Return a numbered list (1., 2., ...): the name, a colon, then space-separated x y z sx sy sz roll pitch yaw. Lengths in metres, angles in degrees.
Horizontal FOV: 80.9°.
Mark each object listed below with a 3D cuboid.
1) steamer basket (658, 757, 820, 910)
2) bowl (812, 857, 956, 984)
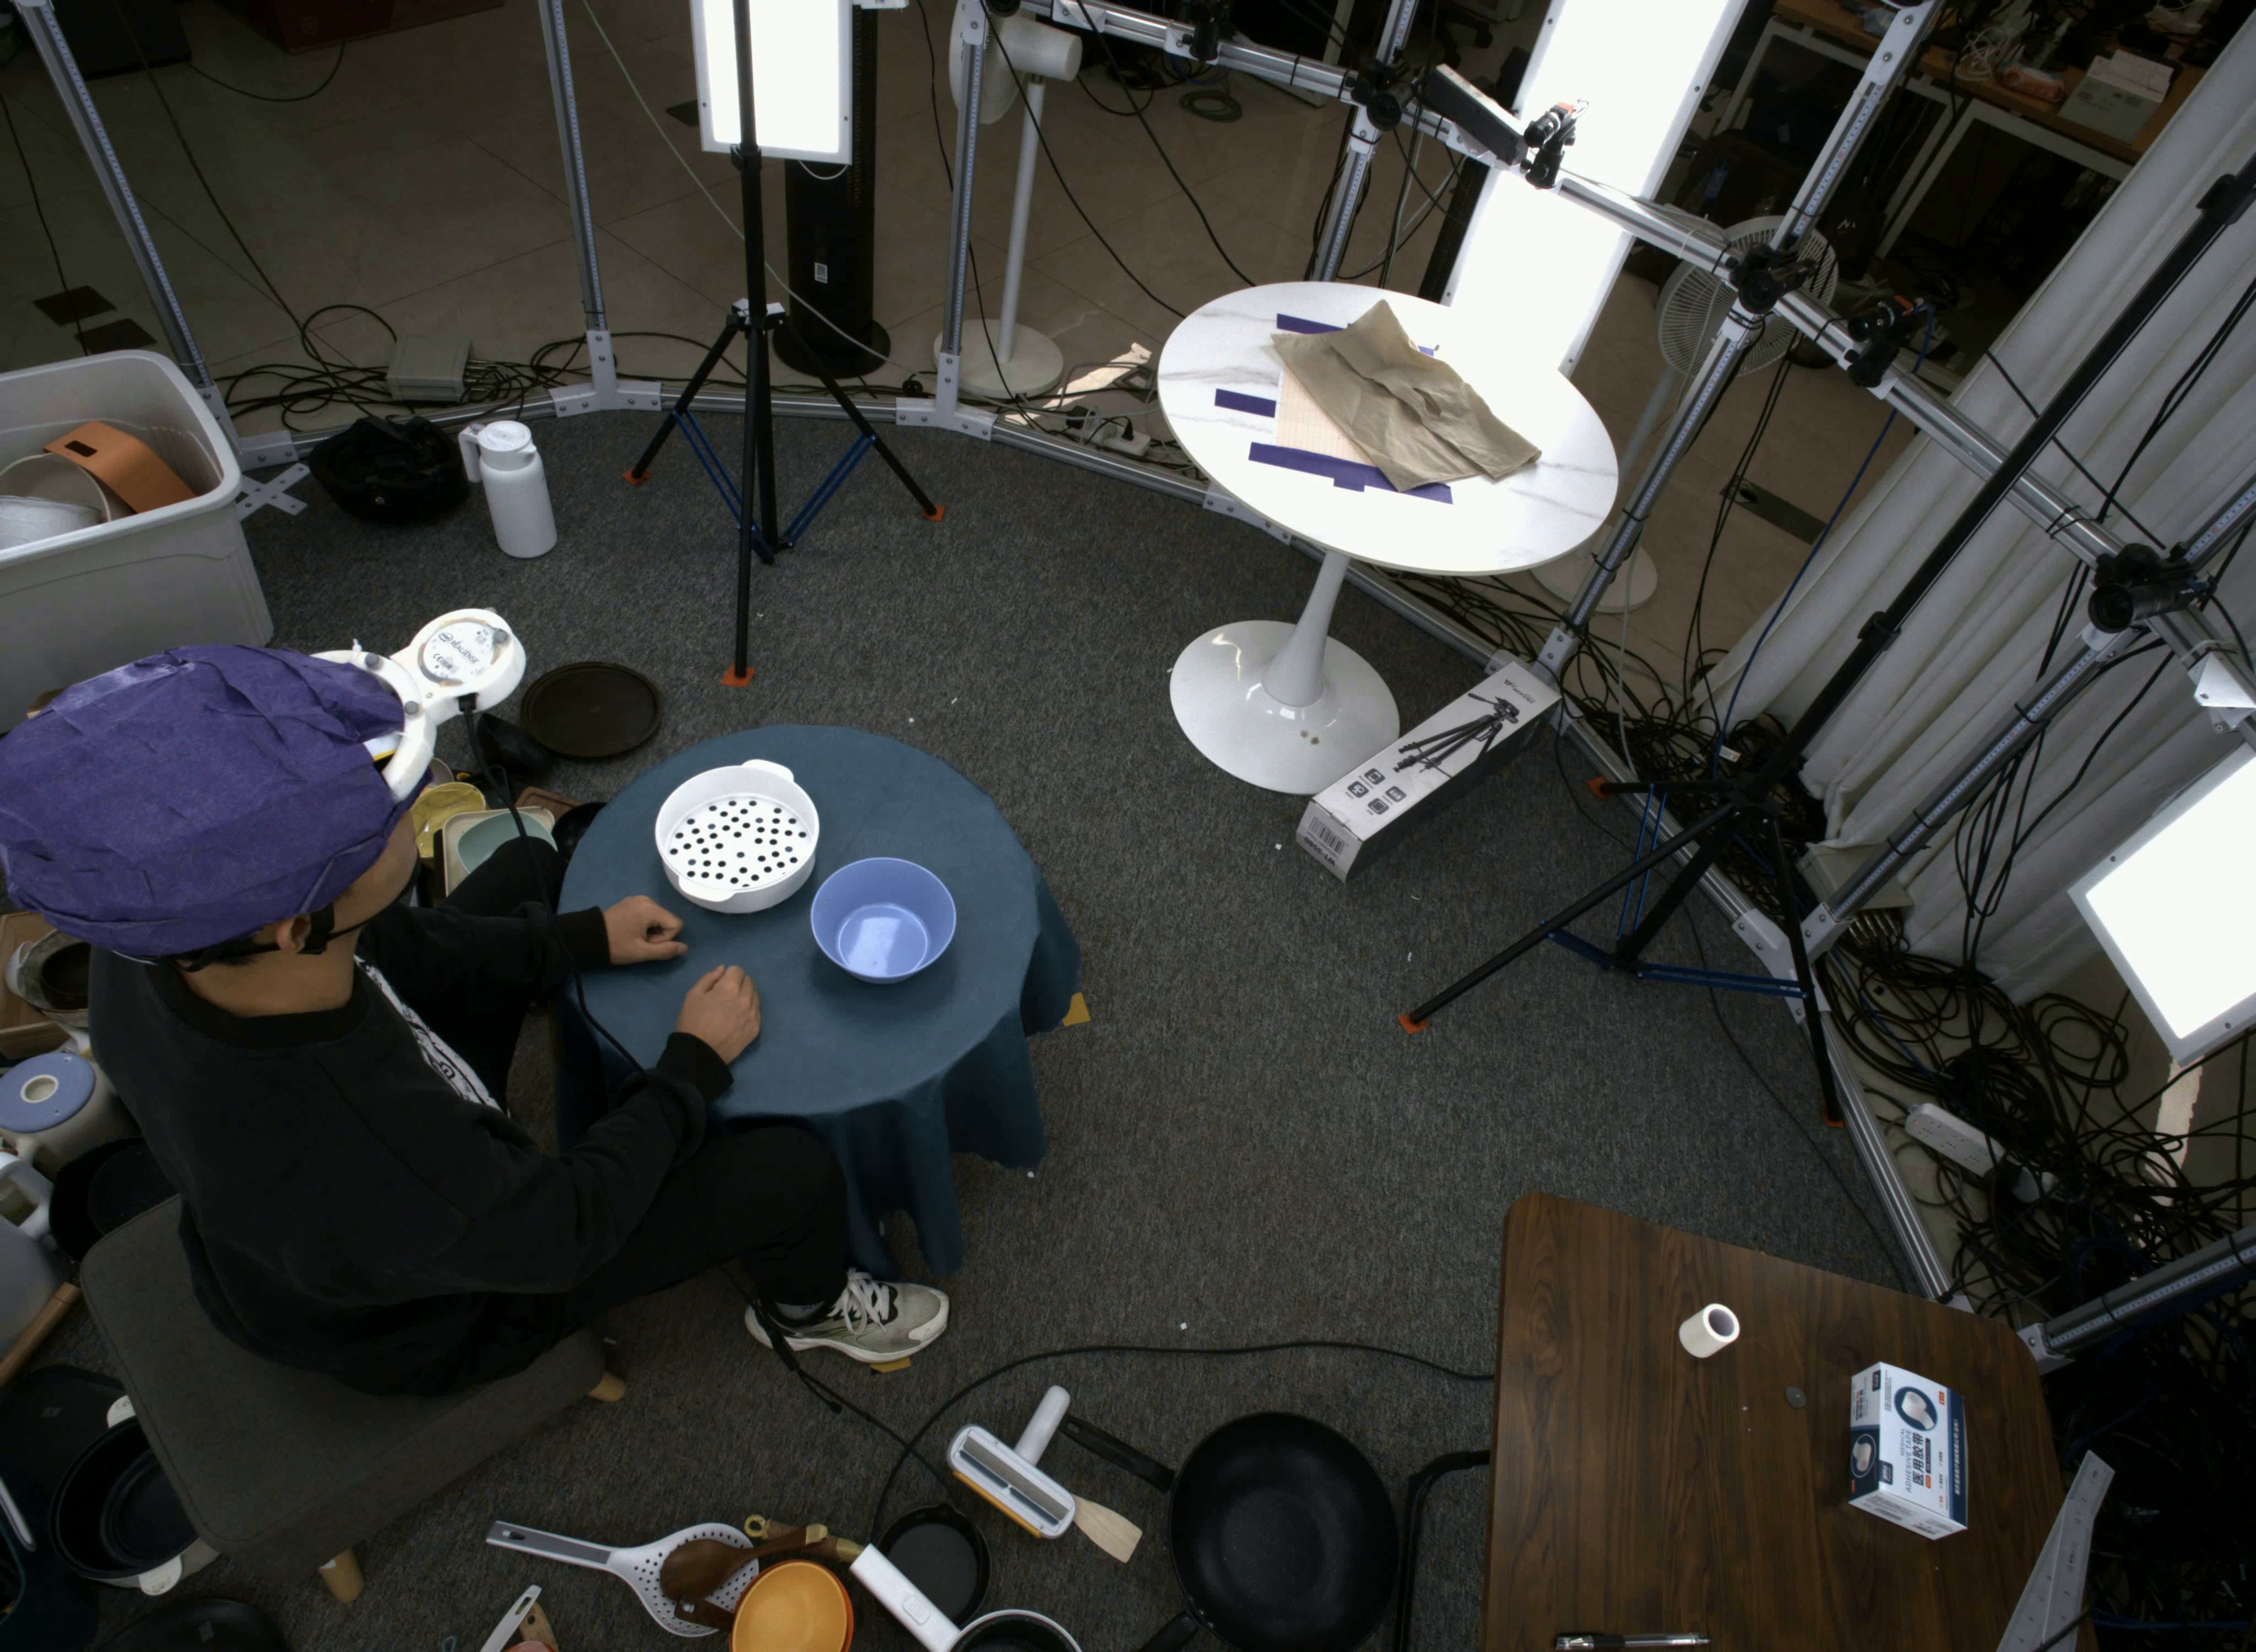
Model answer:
1. steamer basket: -0.496 0.014 1.656 0.200 0.070 0.227 16 49 -2
2. bowl: -0.303 0.127 1.620 0.175 0.072 0.173 7 52 -7
